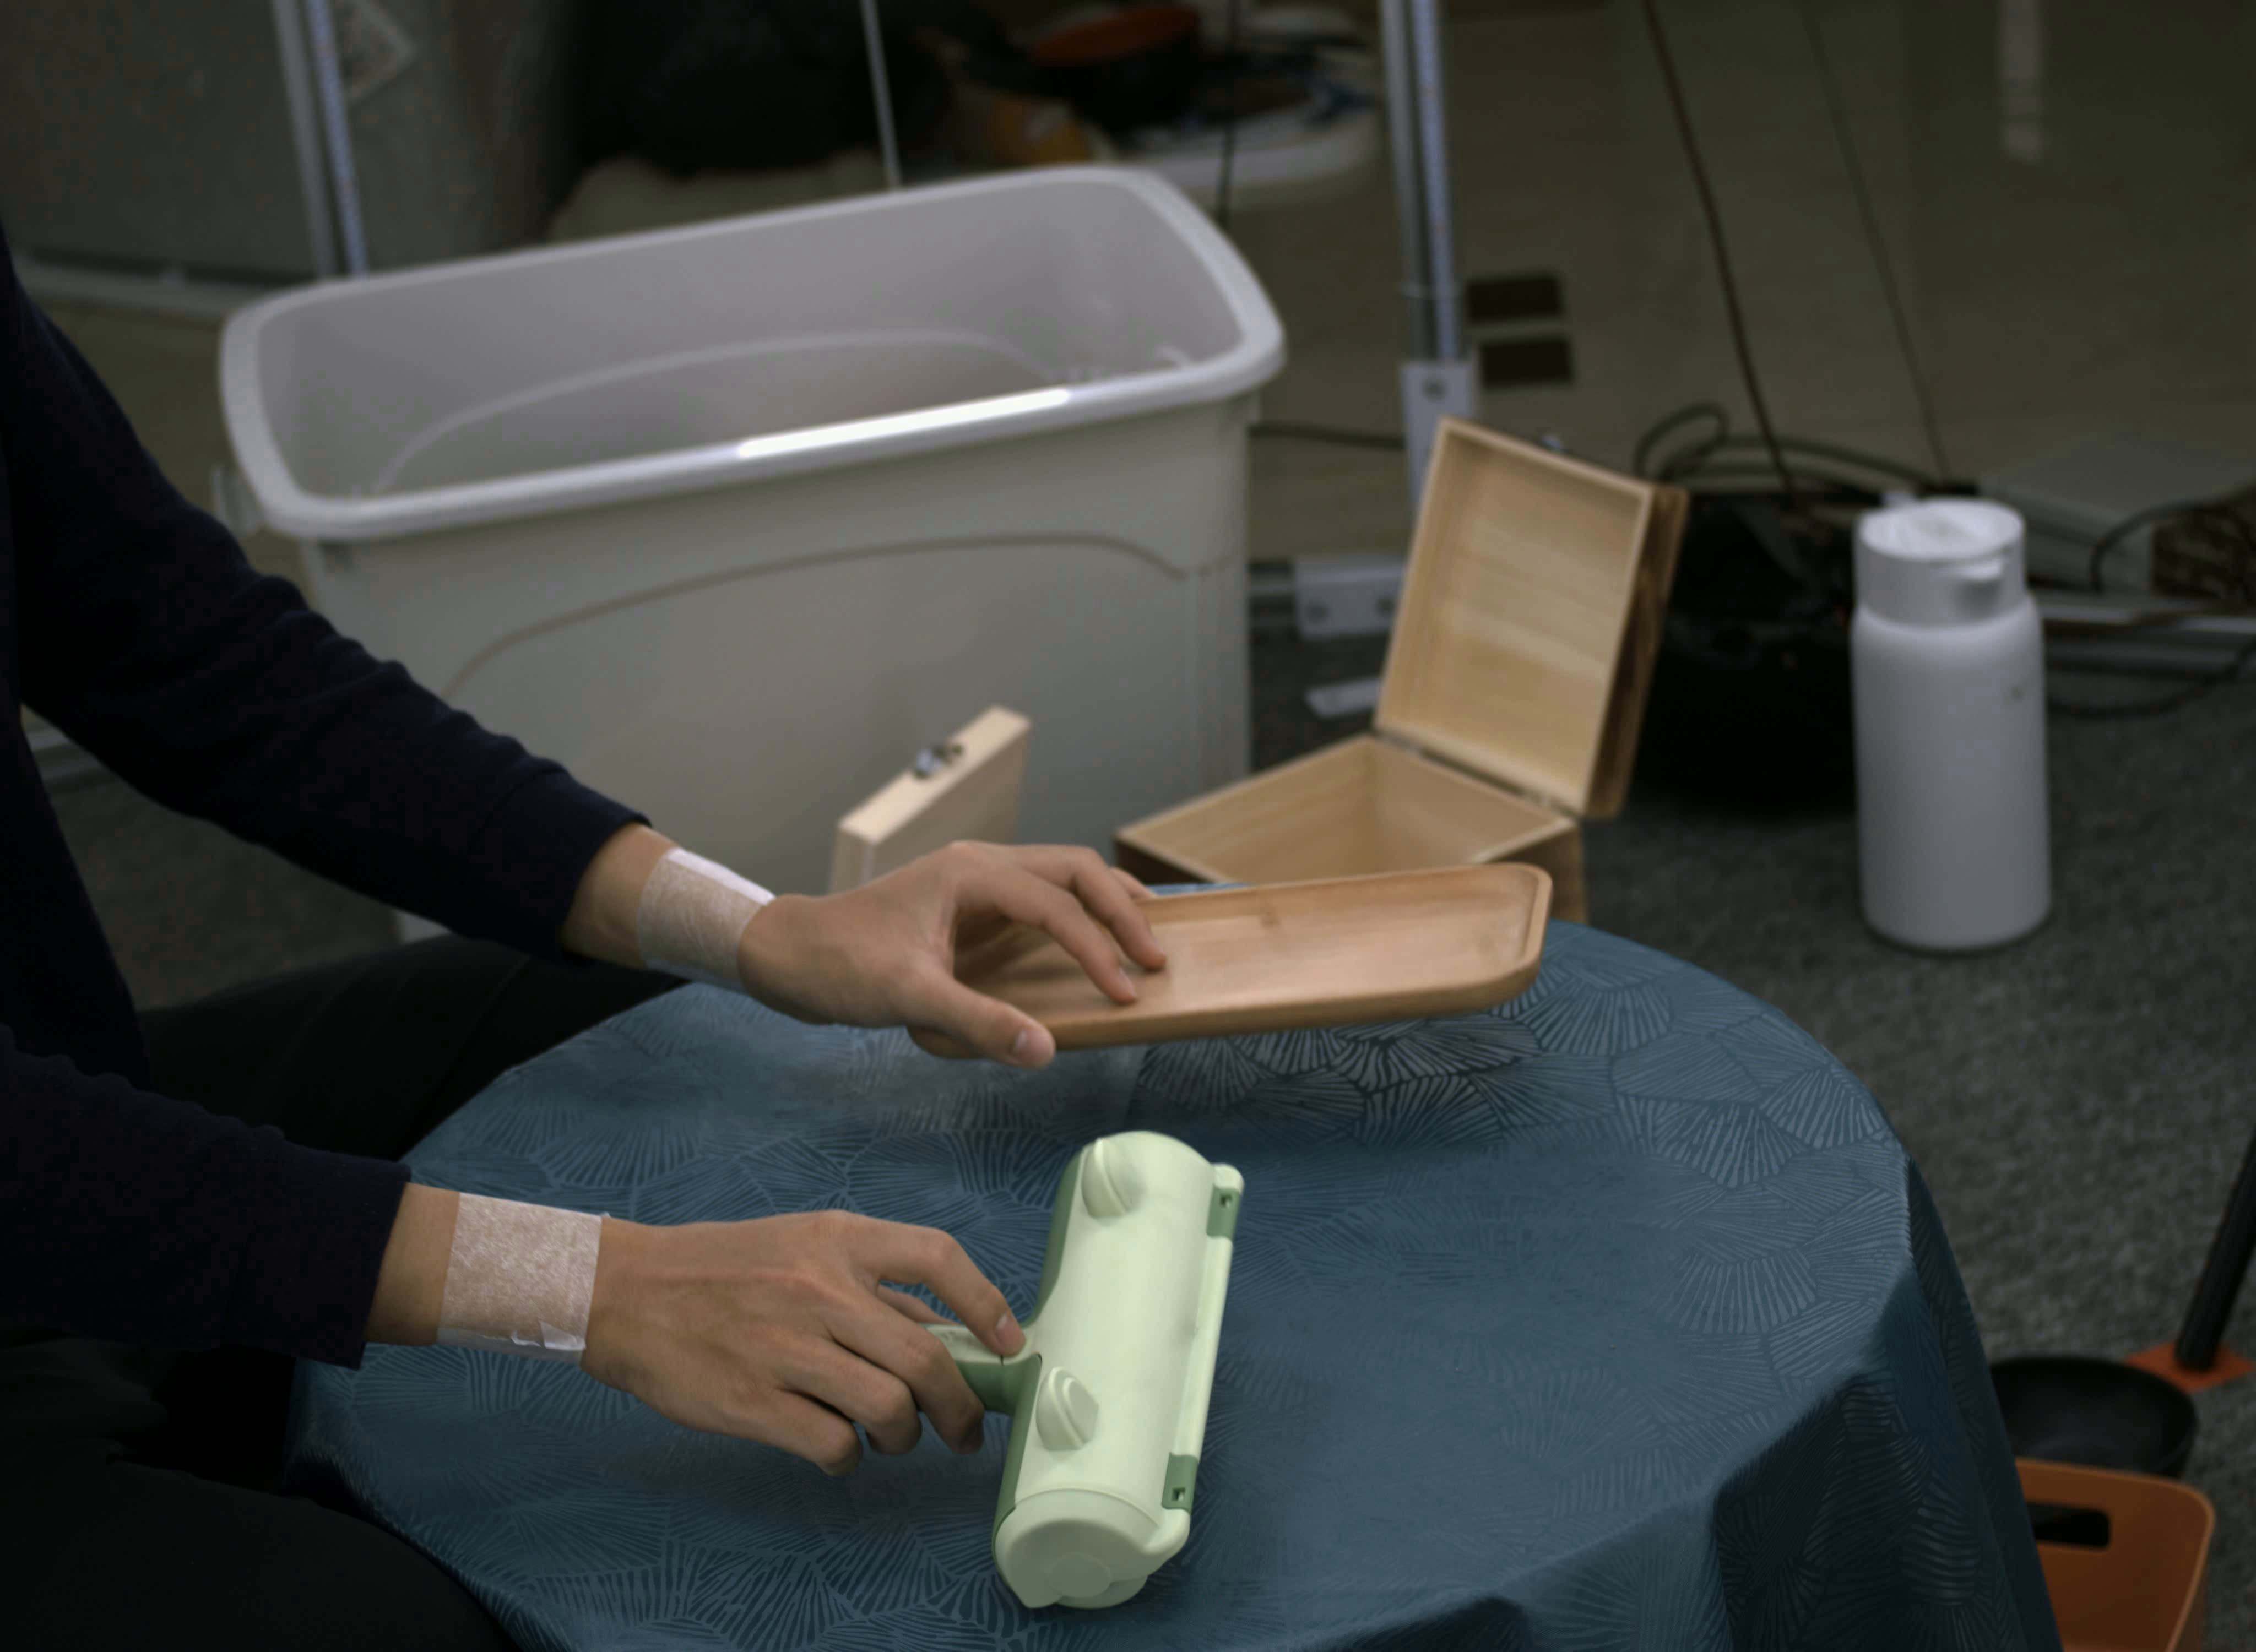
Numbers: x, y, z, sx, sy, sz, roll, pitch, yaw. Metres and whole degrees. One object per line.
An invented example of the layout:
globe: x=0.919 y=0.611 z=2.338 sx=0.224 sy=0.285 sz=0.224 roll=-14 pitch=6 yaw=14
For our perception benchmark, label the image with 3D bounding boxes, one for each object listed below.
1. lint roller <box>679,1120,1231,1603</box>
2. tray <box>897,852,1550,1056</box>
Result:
lint roller: x=-0.063 y=0.170 z=1.943 sx=0.183 sy=0.084 sz=0.195 roll=6 pitch=40 yaw=2
tray: x=0.038 y=0.050 z=2.206 sx=0.250 sy=0.023 sz=0.129 roll=-7 pitch=18 yaw=12
